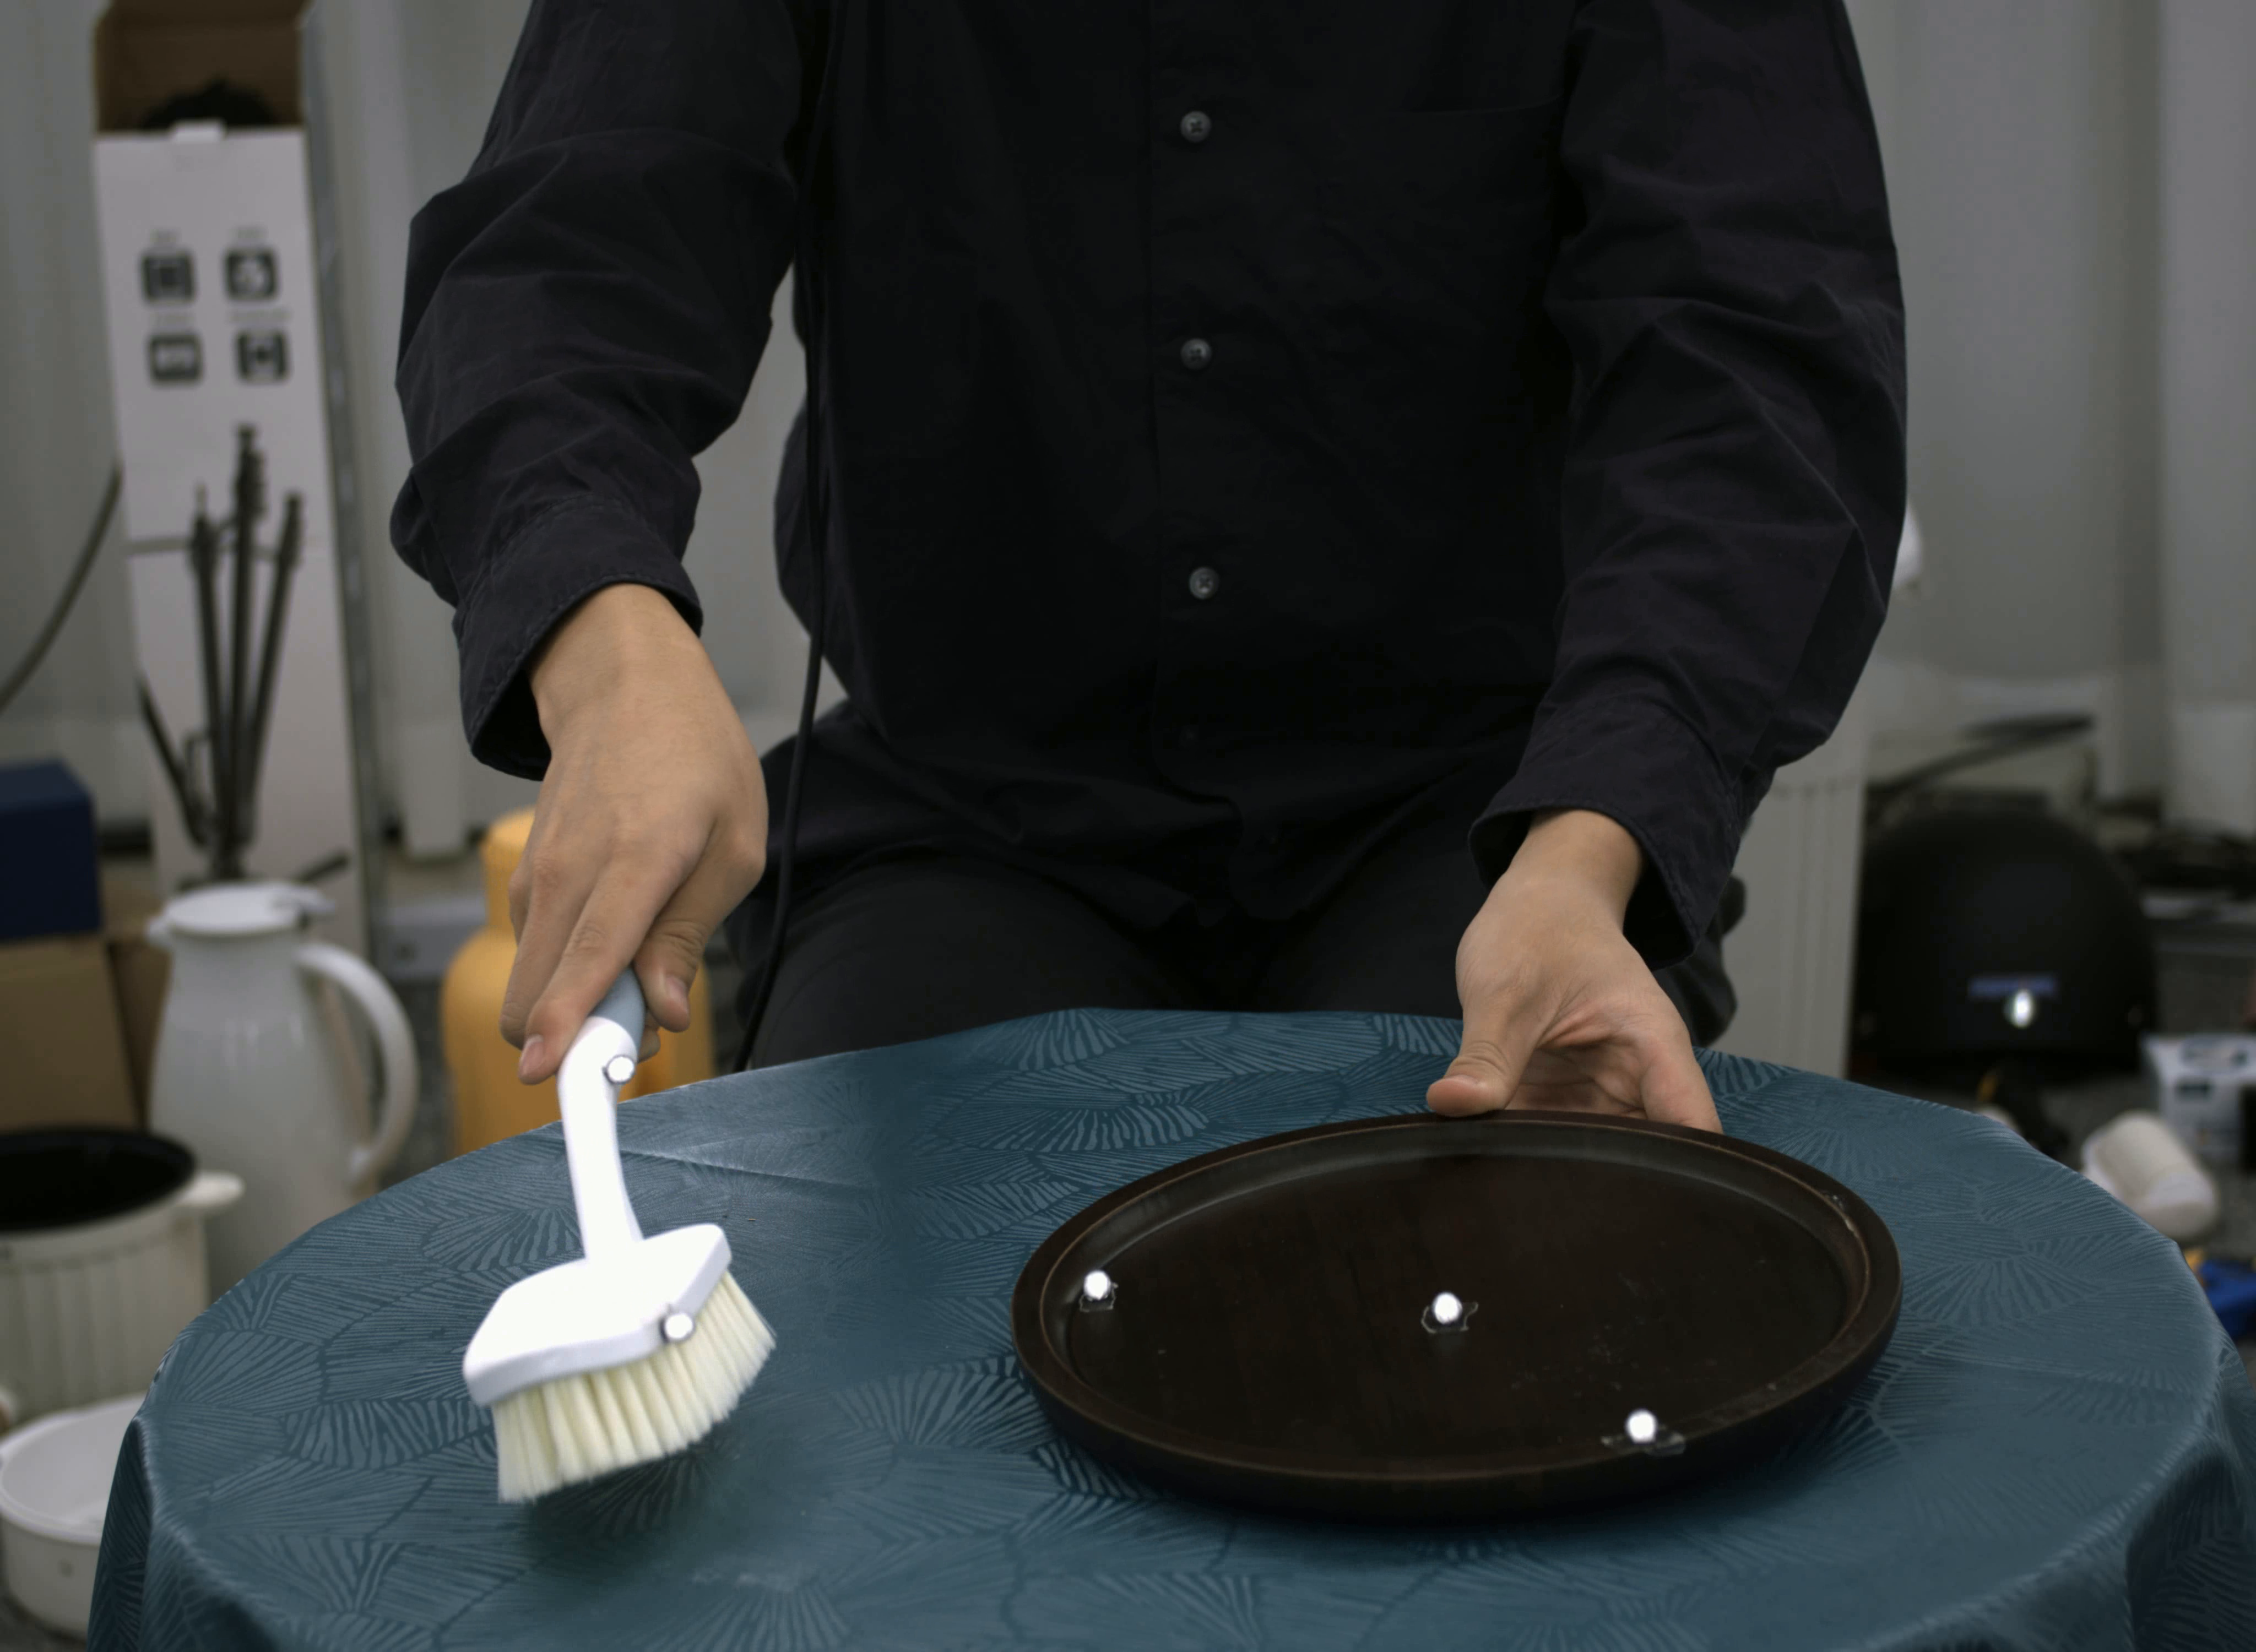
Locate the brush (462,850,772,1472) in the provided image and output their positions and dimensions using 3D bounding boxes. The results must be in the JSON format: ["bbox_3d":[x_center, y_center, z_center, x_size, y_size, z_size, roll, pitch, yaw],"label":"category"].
[{"bbox_3d":[-0.138,0.106,1.586,0.083,0.084,0.328,17,21,-6],"label":"brush"}]

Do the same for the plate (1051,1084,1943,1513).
[{"bbox_3d":[0.105,0.132,1.553,0.254,0.029,0.257,-6,19,2],"label":"plate"}]
